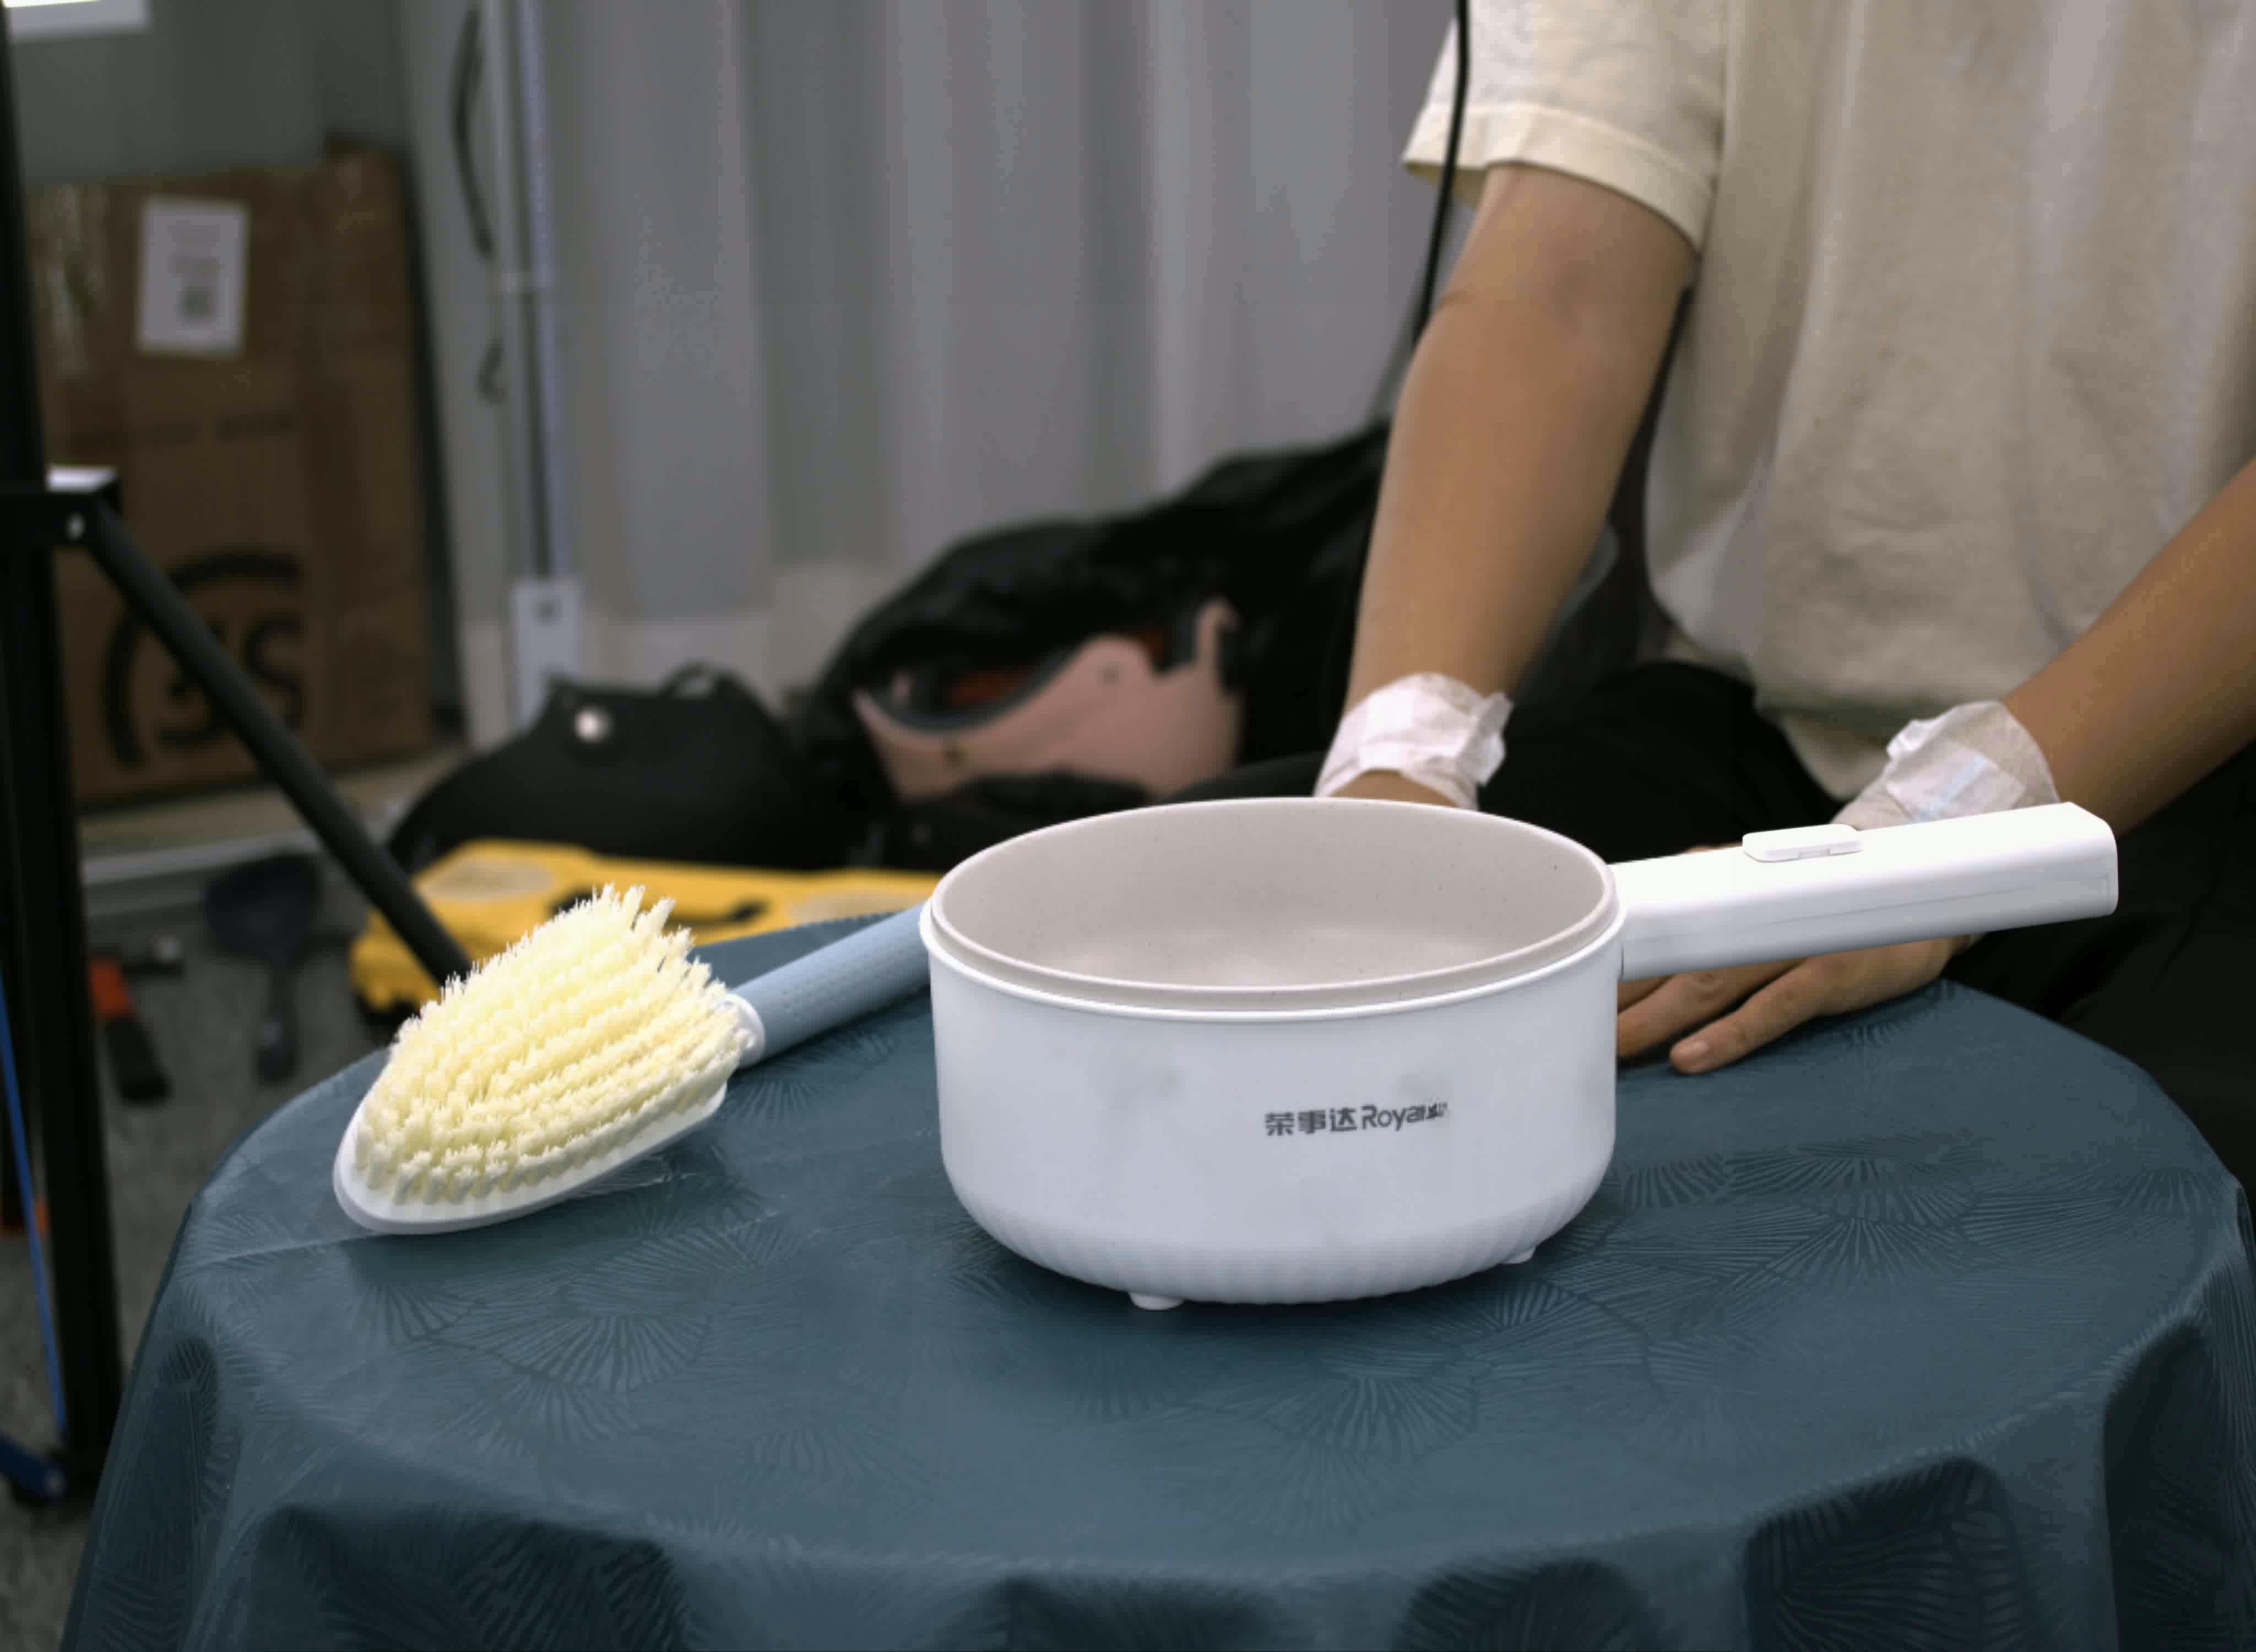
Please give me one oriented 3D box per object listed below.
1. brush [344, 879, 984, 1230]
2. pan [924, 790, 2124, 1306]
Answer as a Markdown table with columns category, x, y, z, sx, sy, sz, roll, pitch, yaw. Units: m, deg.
| category | x | y | z | sx | sy | sz | roll | pitch | yaw |
| --- | --- | --- | --- | --- | --- | --- | --- | --- | --- |
| brush | -0.117 | 0.045 | 1.647 | 0.086 | 0.083 | 0.319 | 0 | 15 | 38 |
| pan | 0.117 | 0.057 | 1.529 | 0.349 | 0.102 | 0.204 | -6 | 16 | -13 |
